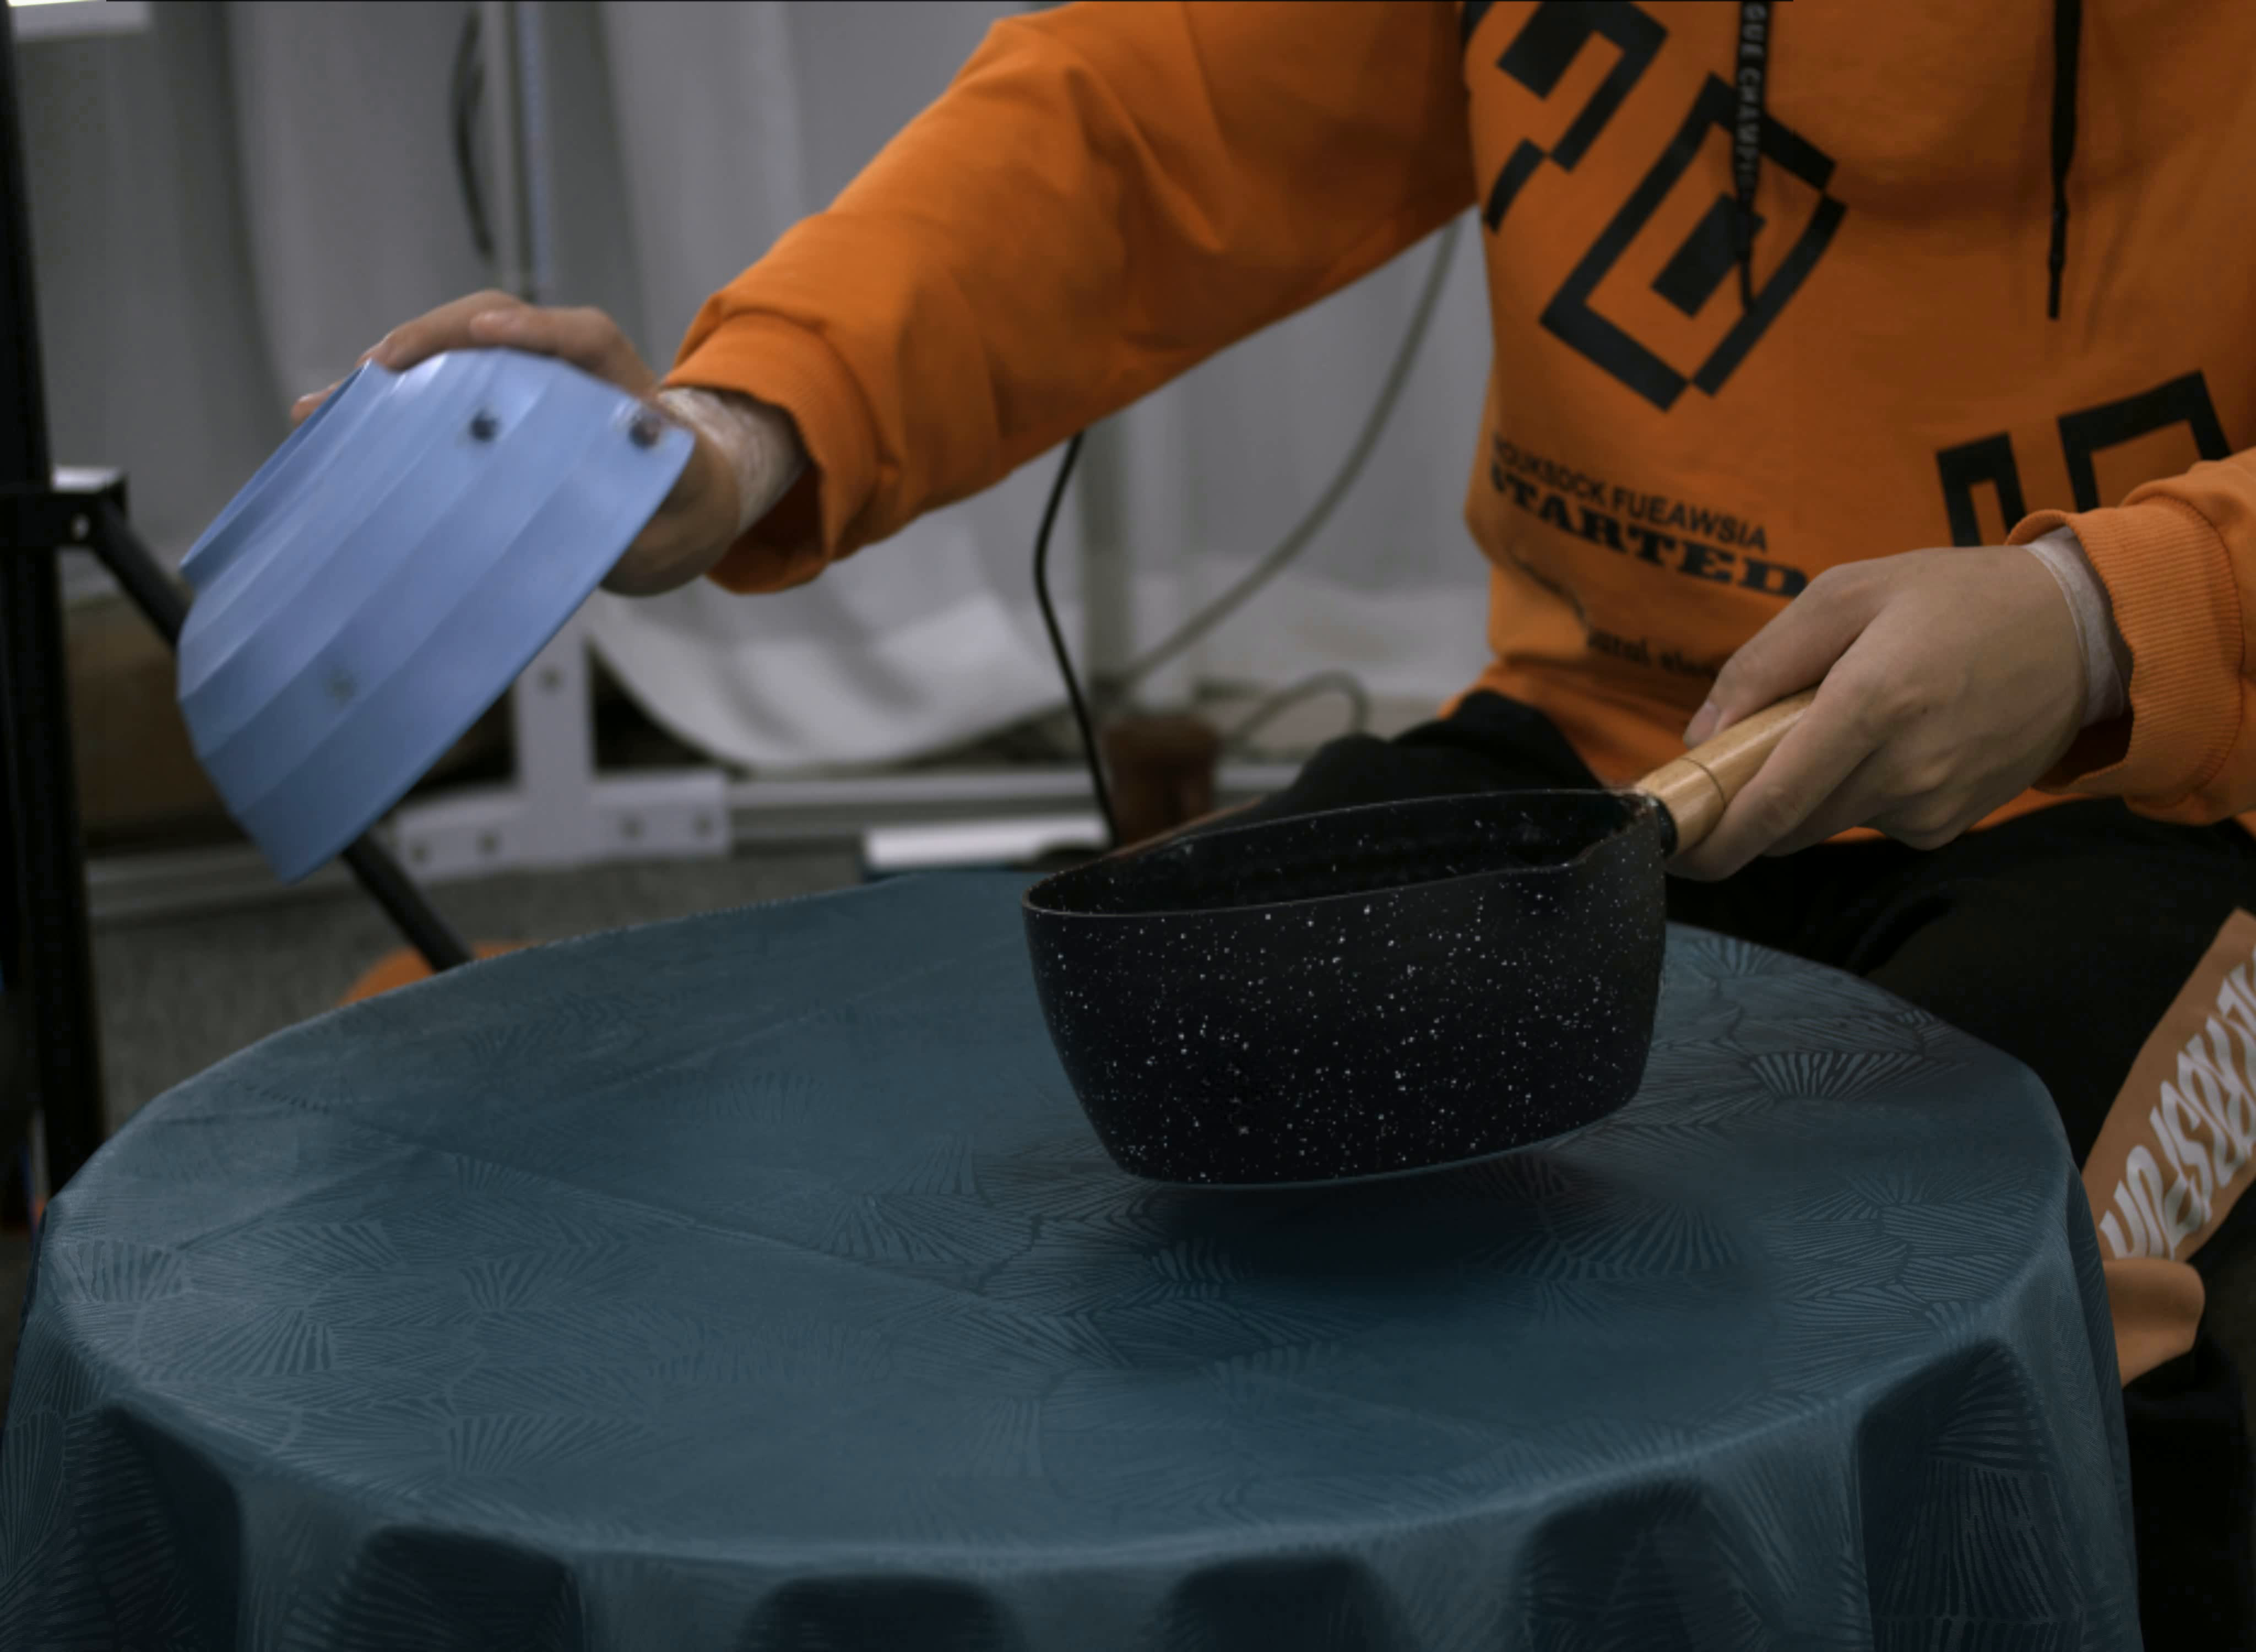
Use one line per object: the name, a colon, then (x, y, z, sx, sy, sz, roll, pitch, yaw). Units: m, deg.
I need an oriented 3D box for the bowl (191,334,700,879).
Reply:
bowl: (-0.236, -0.088, 1.720, 0.095, 0.197, 0.197, 41, 13, -10)

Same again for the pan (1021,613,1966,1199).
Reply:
pan: (0.126, 0.022, 1.564, 0.335, 0.108, 0.212, -15, 8, -35)
